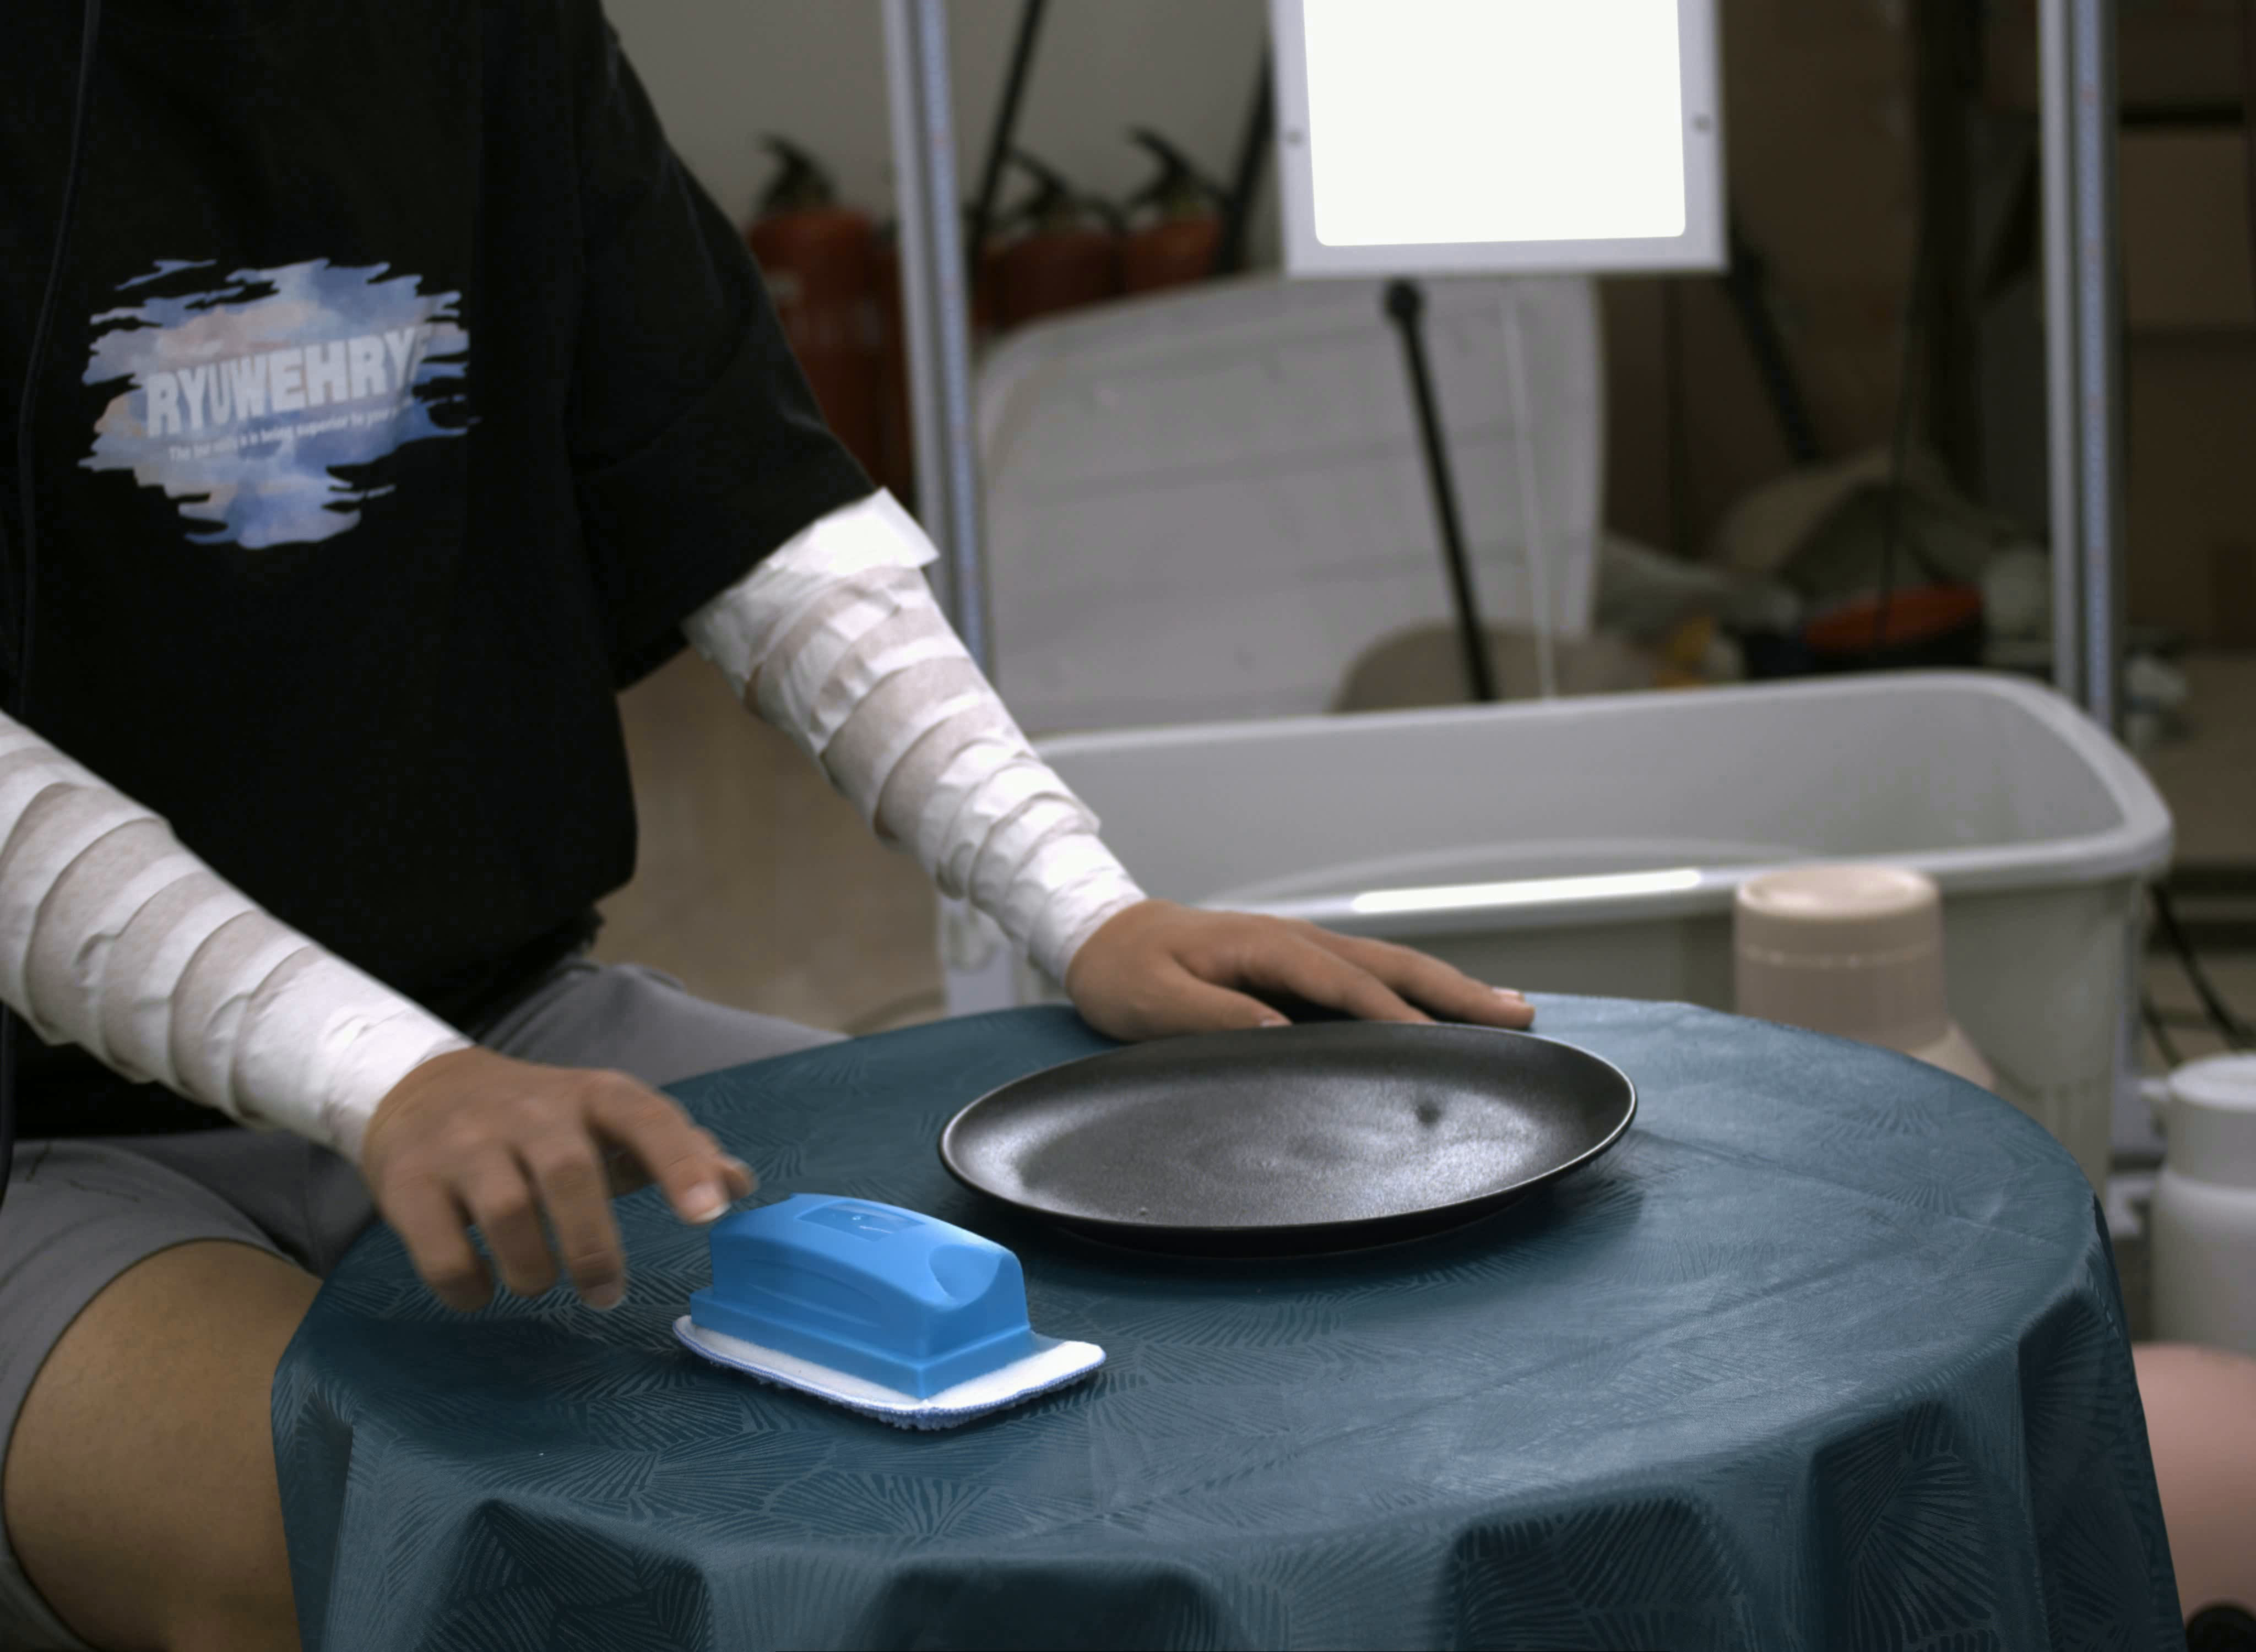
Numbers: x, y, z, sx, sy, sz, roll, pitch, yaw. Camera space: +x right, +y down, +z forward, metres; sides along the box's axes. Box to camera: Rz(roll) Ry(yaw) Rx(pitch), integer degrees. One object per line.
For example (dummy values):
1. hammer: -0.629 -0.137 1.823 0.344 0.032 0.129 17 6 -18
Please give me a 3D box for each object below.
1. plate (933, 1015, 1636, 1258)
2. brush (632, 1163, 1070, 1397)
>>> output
1. plate: 0.055 0.109 1.897 0.244 0.023 0.244 -5 14 0
2. brush: -0.087 0.141 1.737 0.082 0.056 0.147 -11 17 -40
